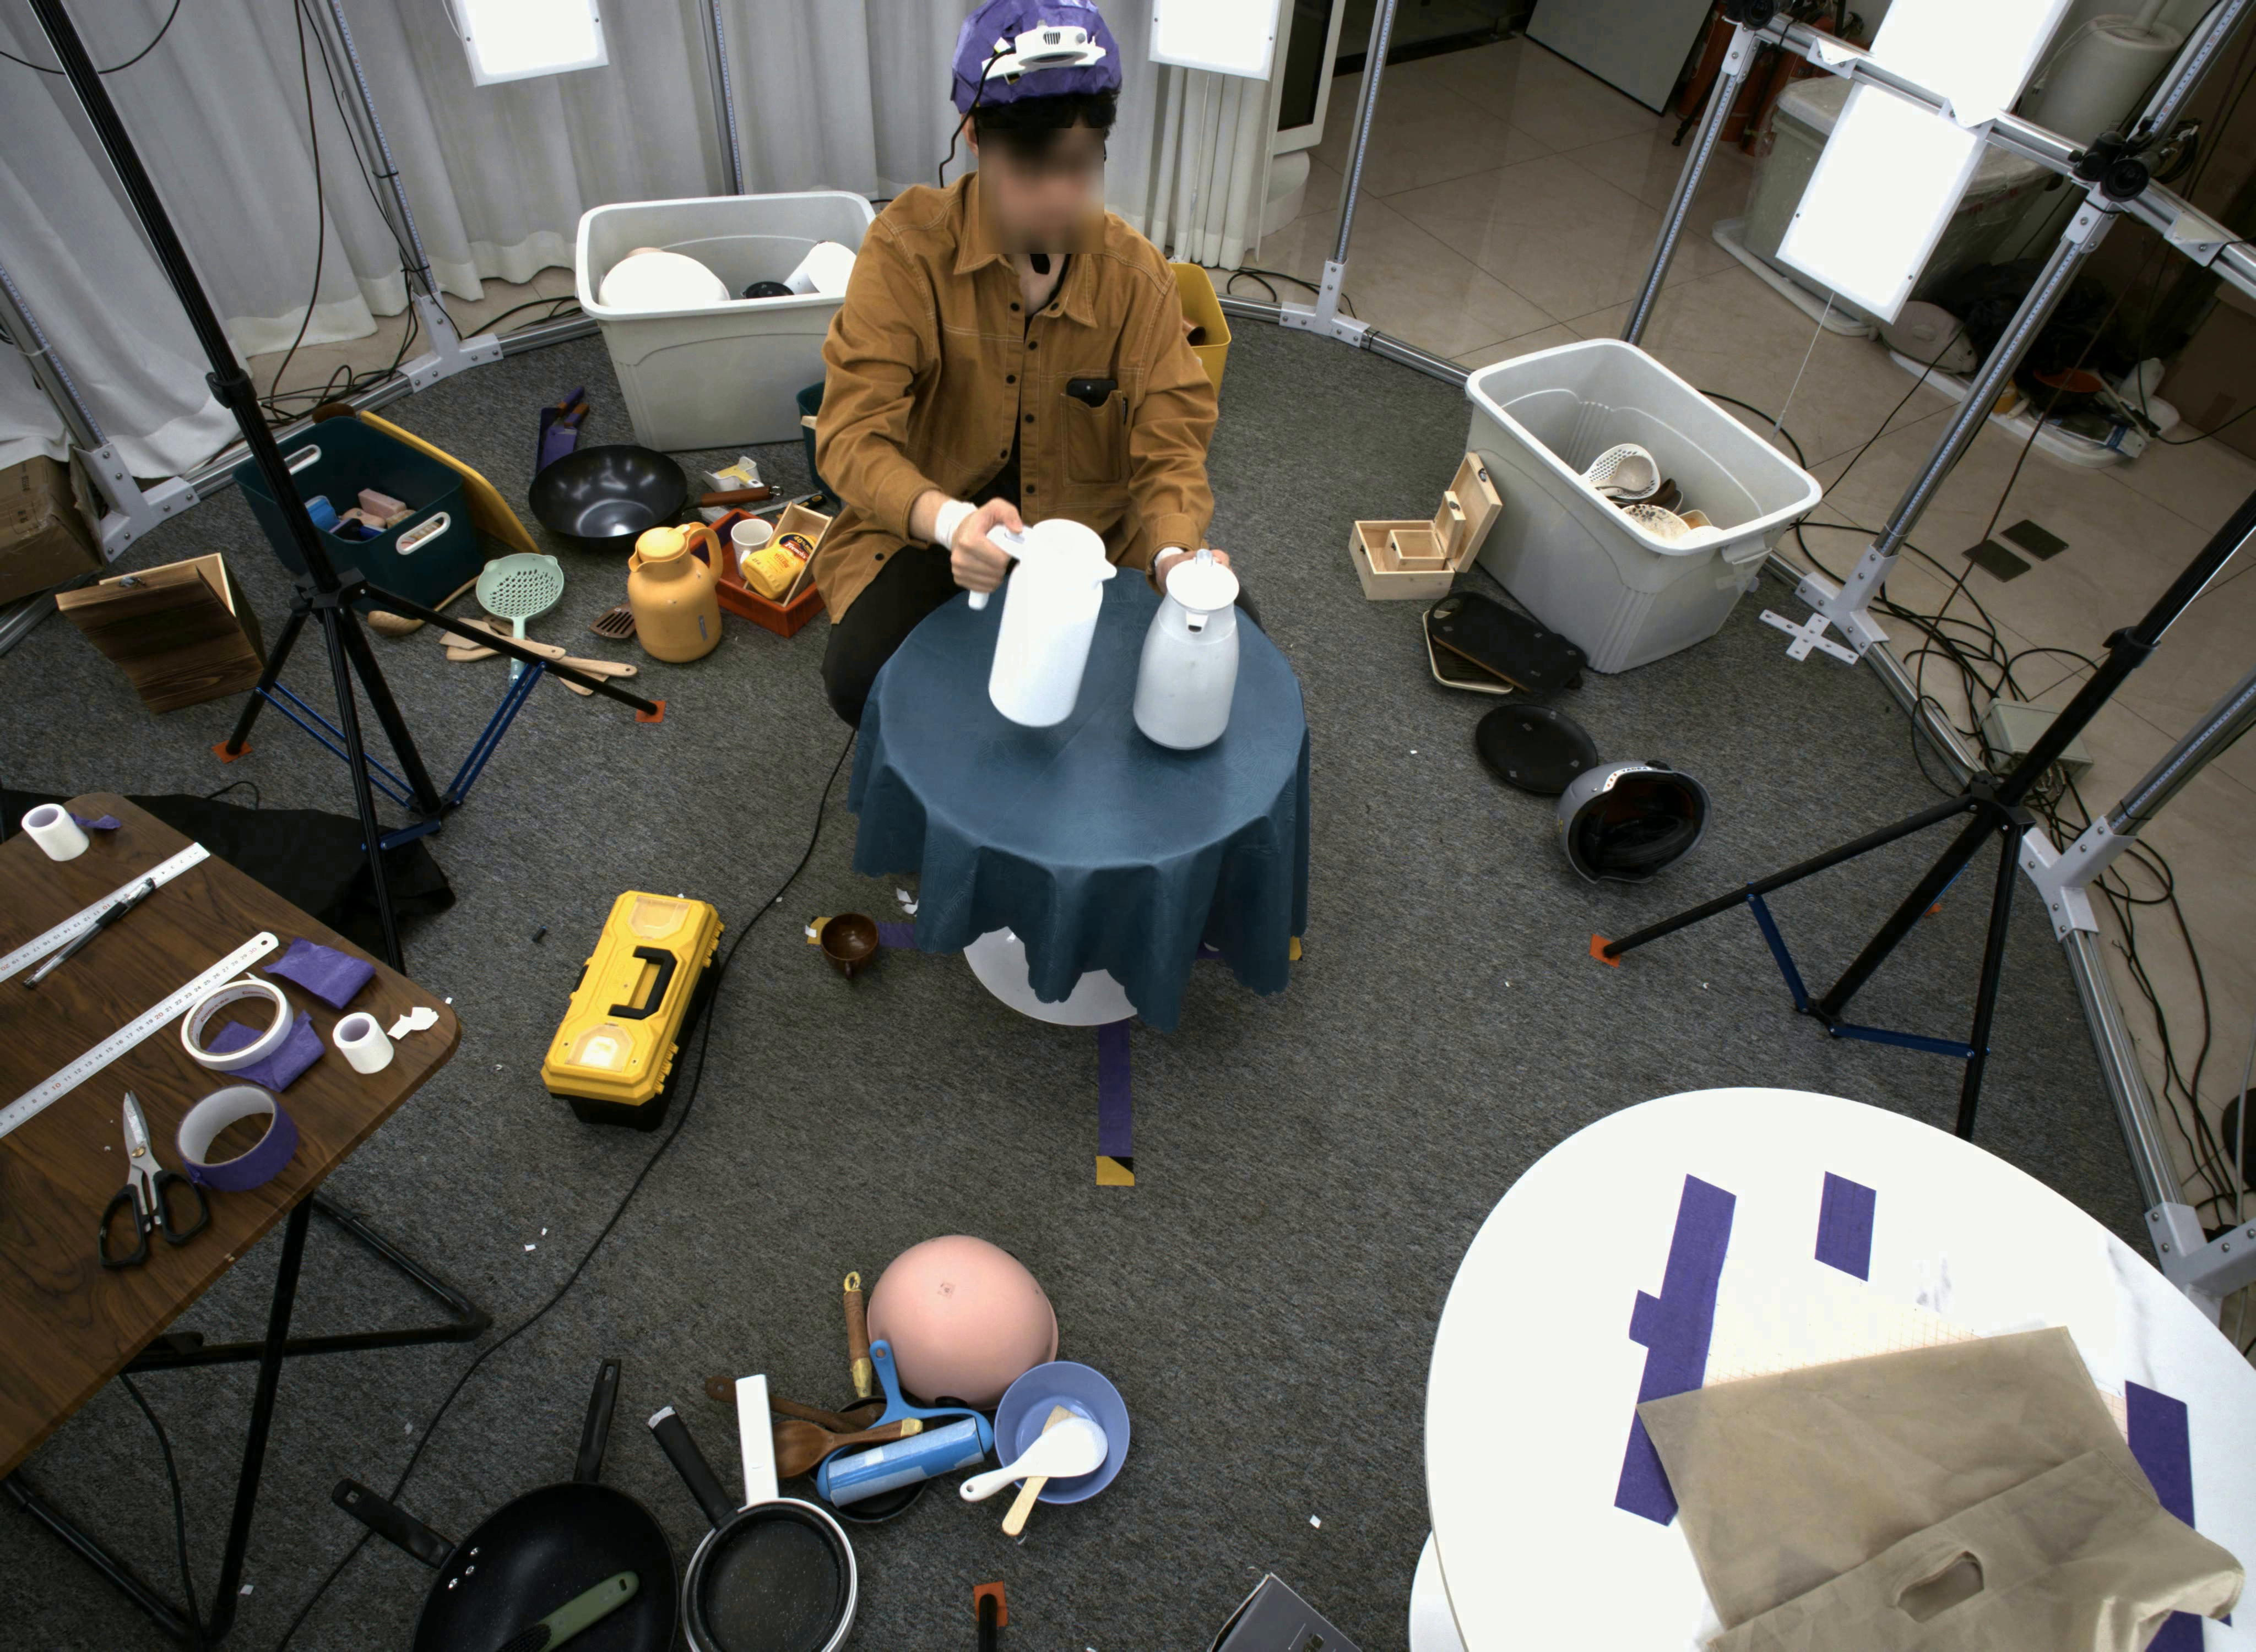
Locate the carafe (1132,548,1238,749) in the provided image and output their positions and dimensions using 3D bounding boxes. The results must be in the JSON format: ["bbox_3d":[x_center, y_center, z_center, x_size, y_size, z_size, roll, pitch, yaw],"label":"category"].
[{"bbox_3d":[0.082,-0.245,1.687,0.132,0.243,0.172,9,50,1],"label":"carafe"}]

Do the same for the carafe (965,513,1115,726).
[{"bbox_3d":[-0.121,-0.259,1.616,0.173,0.263,0.126,22,51,4],"label":"carafe"}]
